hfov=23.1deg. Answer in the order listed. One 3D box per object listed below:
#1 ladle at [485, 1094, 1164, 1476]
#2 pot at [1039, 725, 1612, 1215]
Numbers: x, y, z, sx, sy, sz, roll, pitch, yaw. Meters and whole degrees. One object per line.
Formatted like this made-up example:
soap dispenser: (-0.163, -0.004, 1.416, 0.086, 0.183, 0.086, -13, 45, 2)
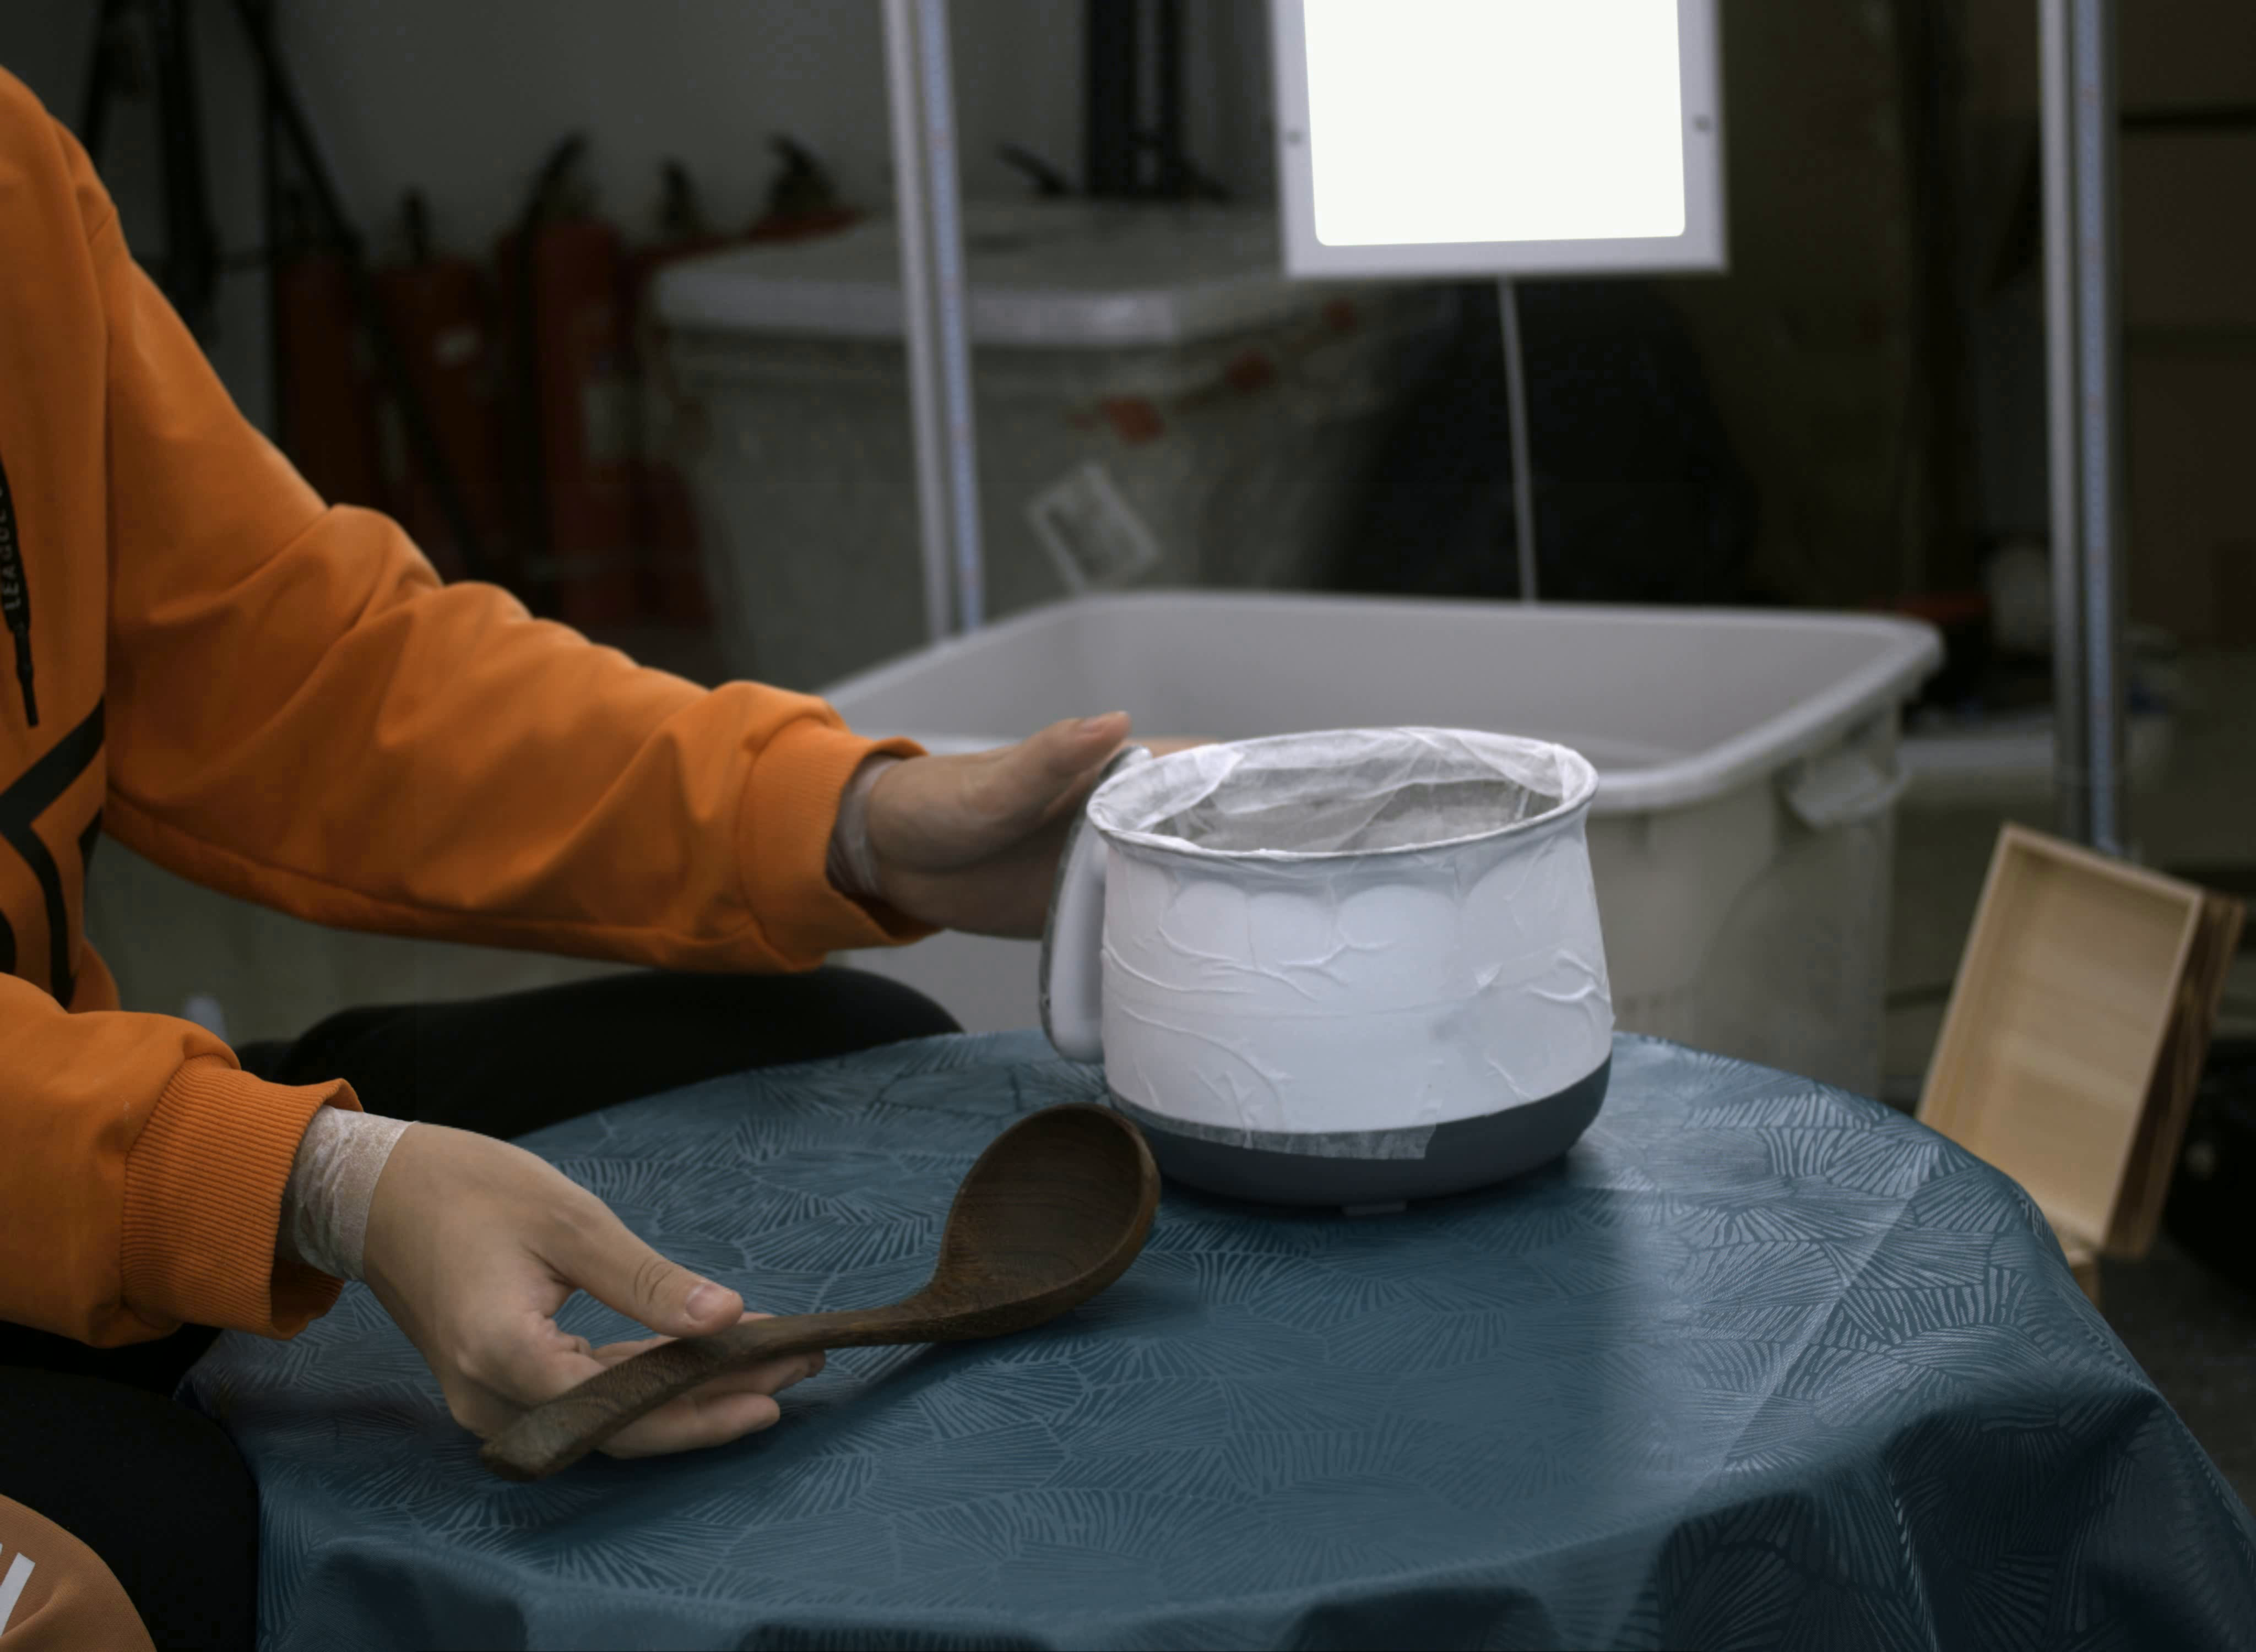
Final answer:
ladle: (-0.093, 0.138, 1.707, 0.077, 0.071, 0.267, 7, 12, 42)
pot: (0.058, 0.045, 1.919, 0.239, 0.137, 0.174, 9, 19, 43)
